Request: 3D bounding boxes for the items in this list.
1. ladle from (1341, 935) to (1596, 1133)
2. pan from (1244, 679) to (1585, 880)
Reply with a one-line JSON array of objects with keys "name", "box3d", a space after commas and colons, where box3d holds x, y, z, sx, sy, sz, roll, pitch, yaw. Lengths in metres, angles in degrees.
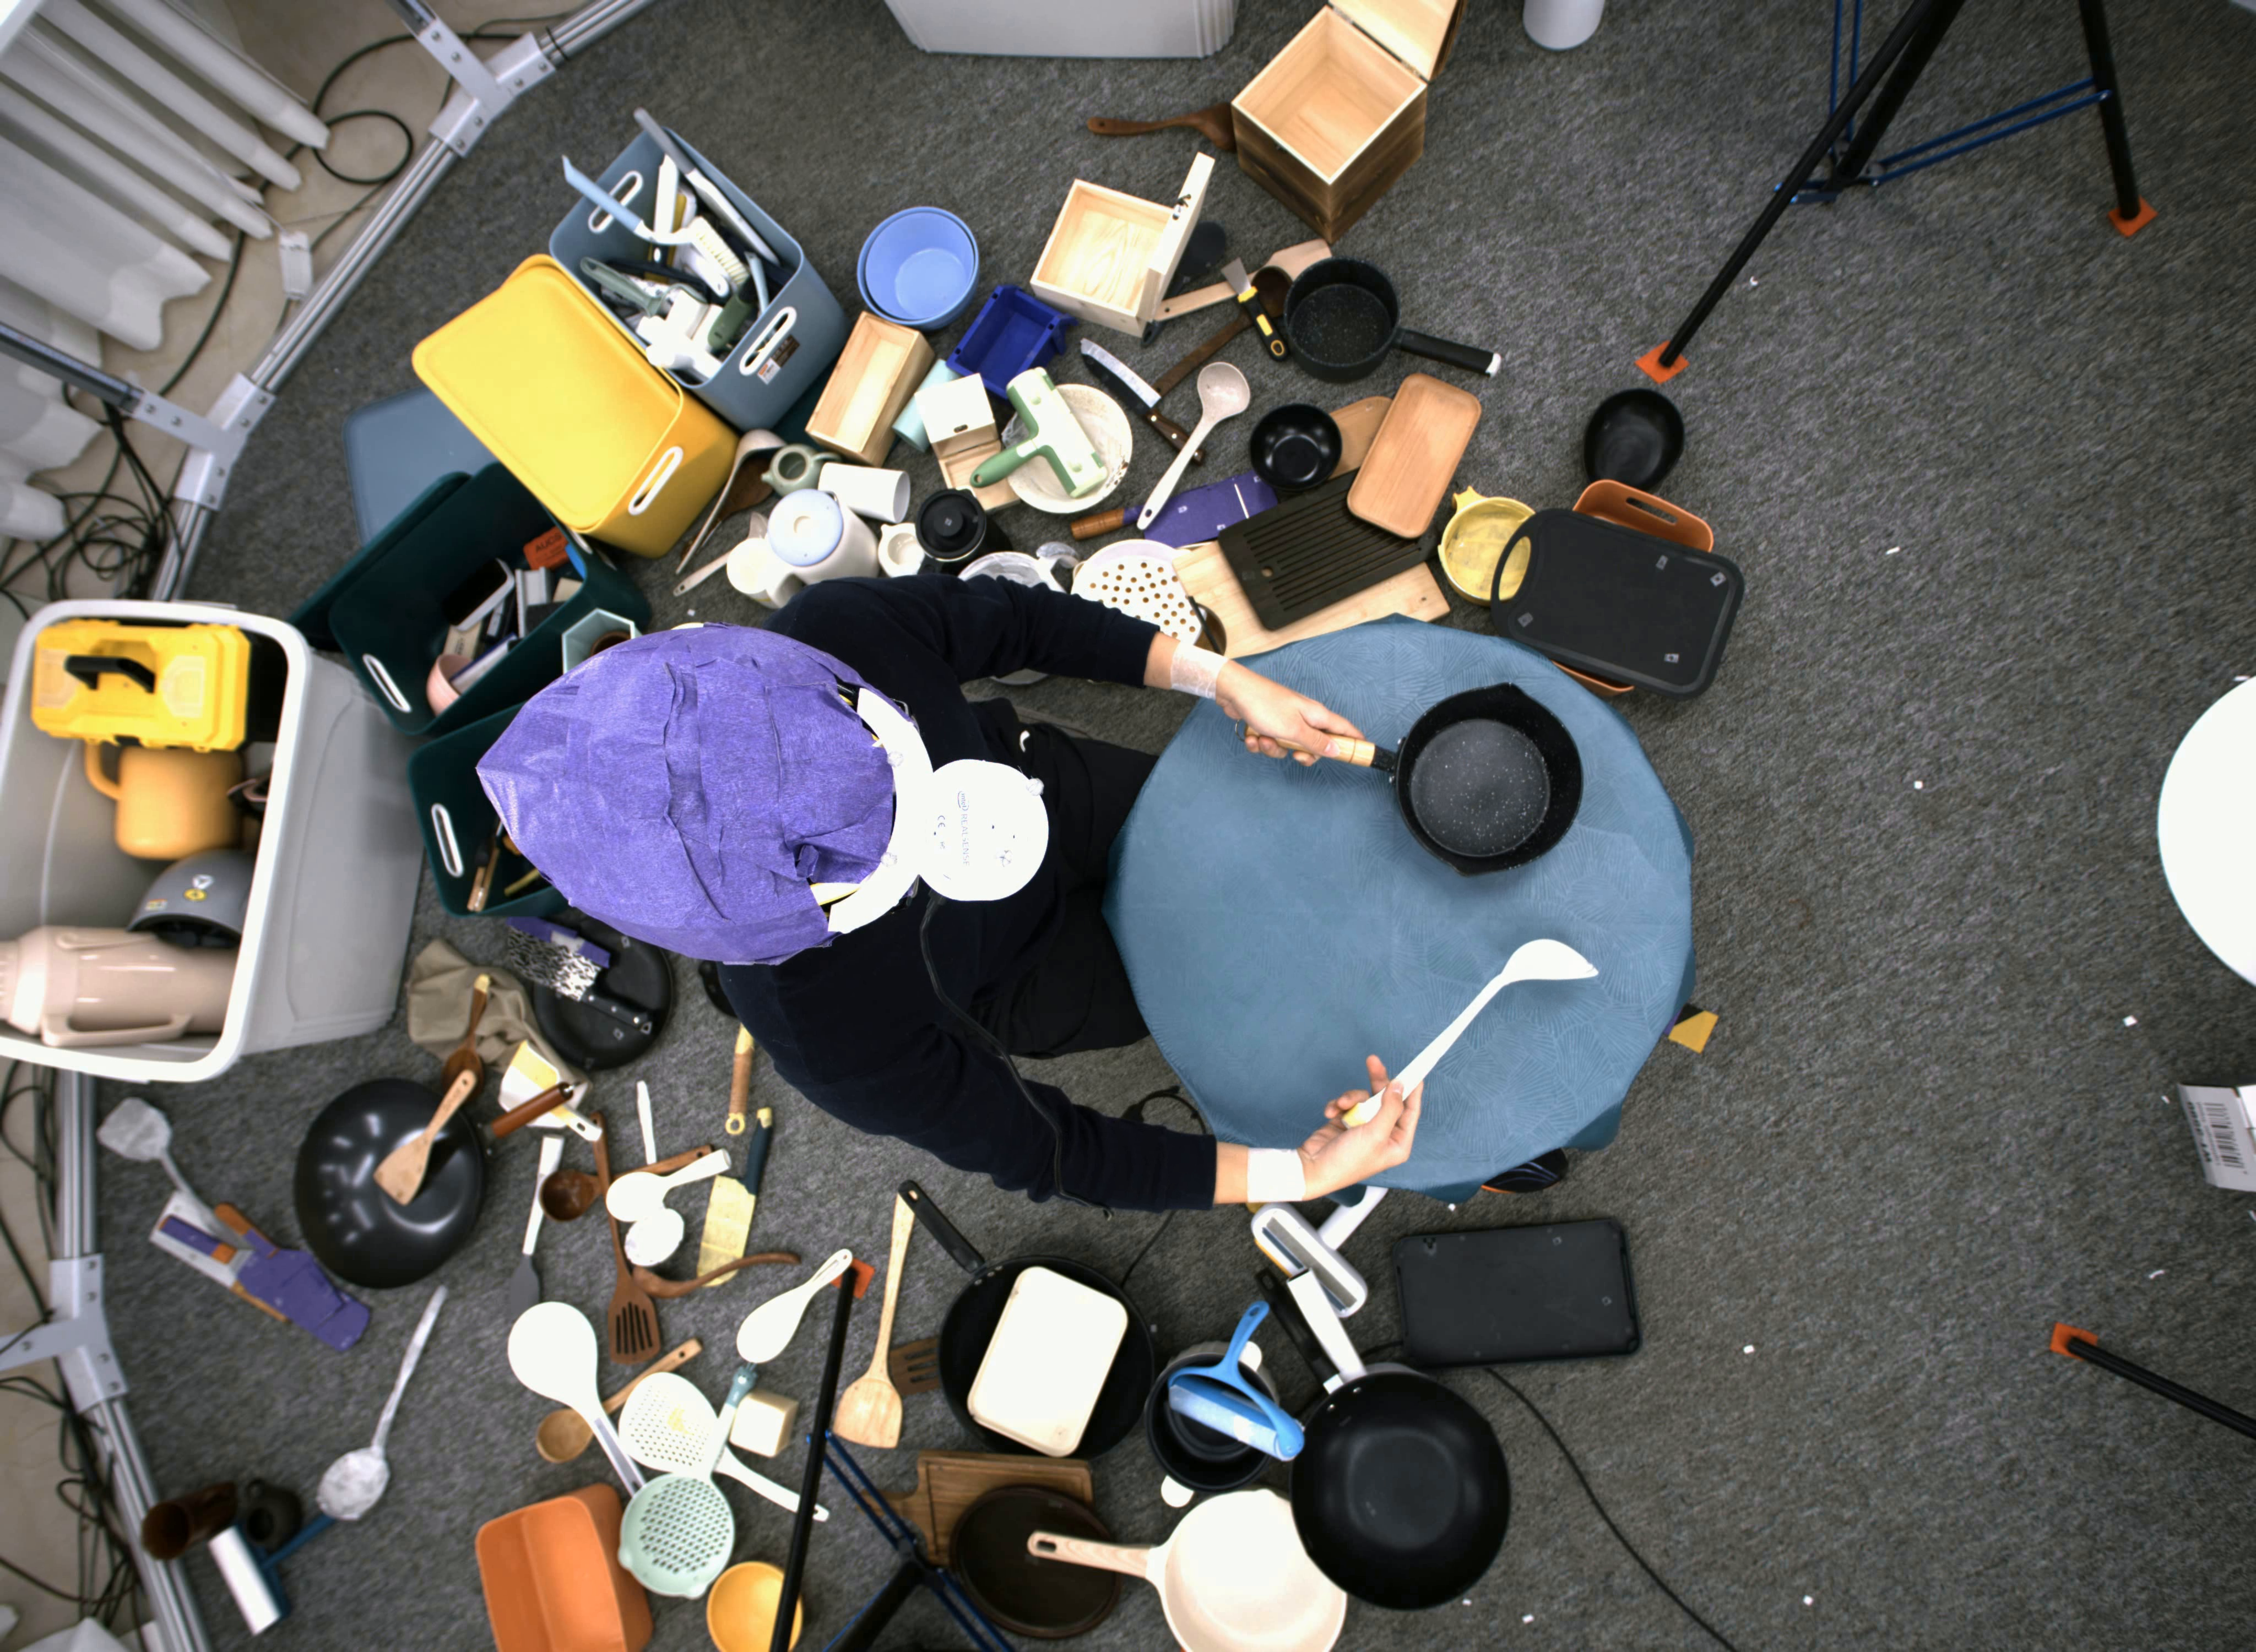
[{"name": "ladle", "box3d": [0.333, 0.204, 1.351, 0.290, 0.090, 0.070, -40, 103, -12]}, {"name": "pan", "box3d": [0.286, -0.061, 1.404, 0.343, 0.108, 0.207, 12, 90, 7]}]
